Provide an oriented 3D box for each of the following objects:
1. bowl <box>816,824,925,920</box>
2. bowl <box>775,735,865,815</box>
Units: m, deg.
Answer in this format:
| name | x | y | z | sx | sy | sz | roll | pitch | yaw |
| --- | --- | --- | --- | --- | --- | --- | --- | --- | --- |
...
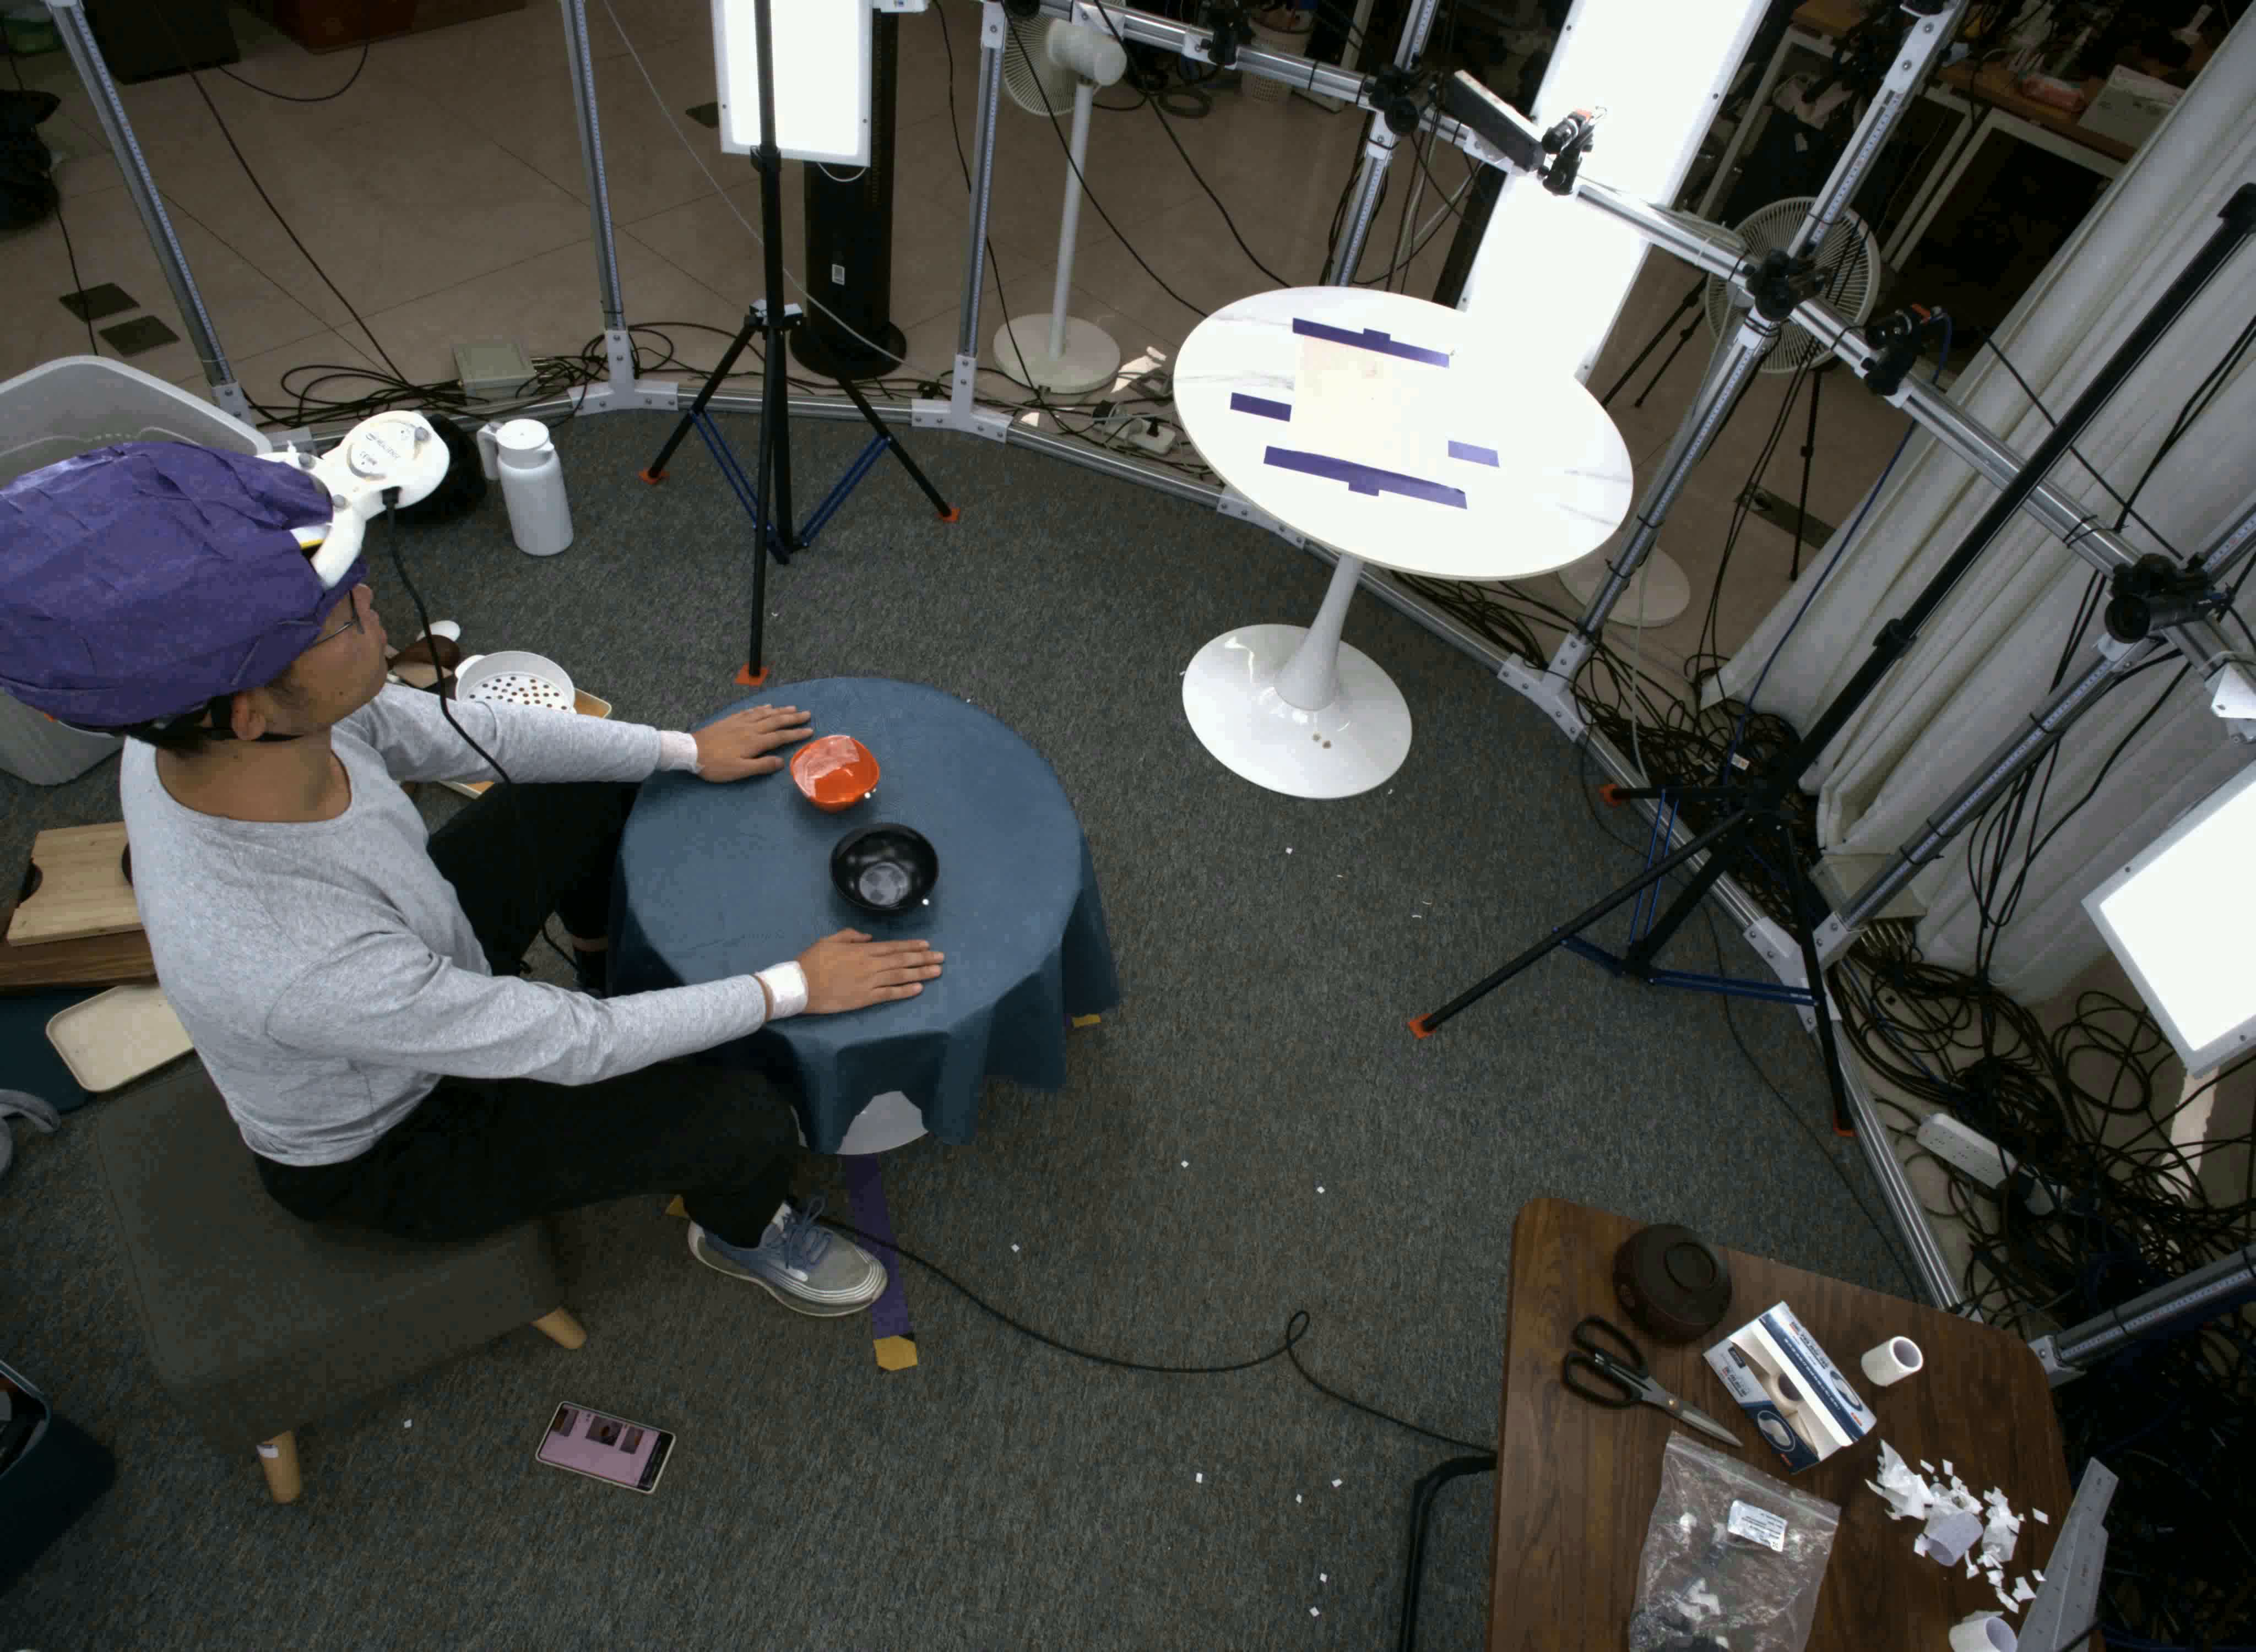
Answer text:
| name | x | y | z | sx | sy | sz | roll | pitch | yaw |
| --- | --- | --- | --- | --- | --- | --- | --- | --- | --- |
| bowl | -0.331 | 0.067 | 1.680 | 0.139 | 0.051 | 0.137 | 6 | 54 | -7 |
| bowl | -0.416 | -0.061 | 1.749 | 0.119 | 0.052 | 0.117 | 9 | 52 | -10 |
